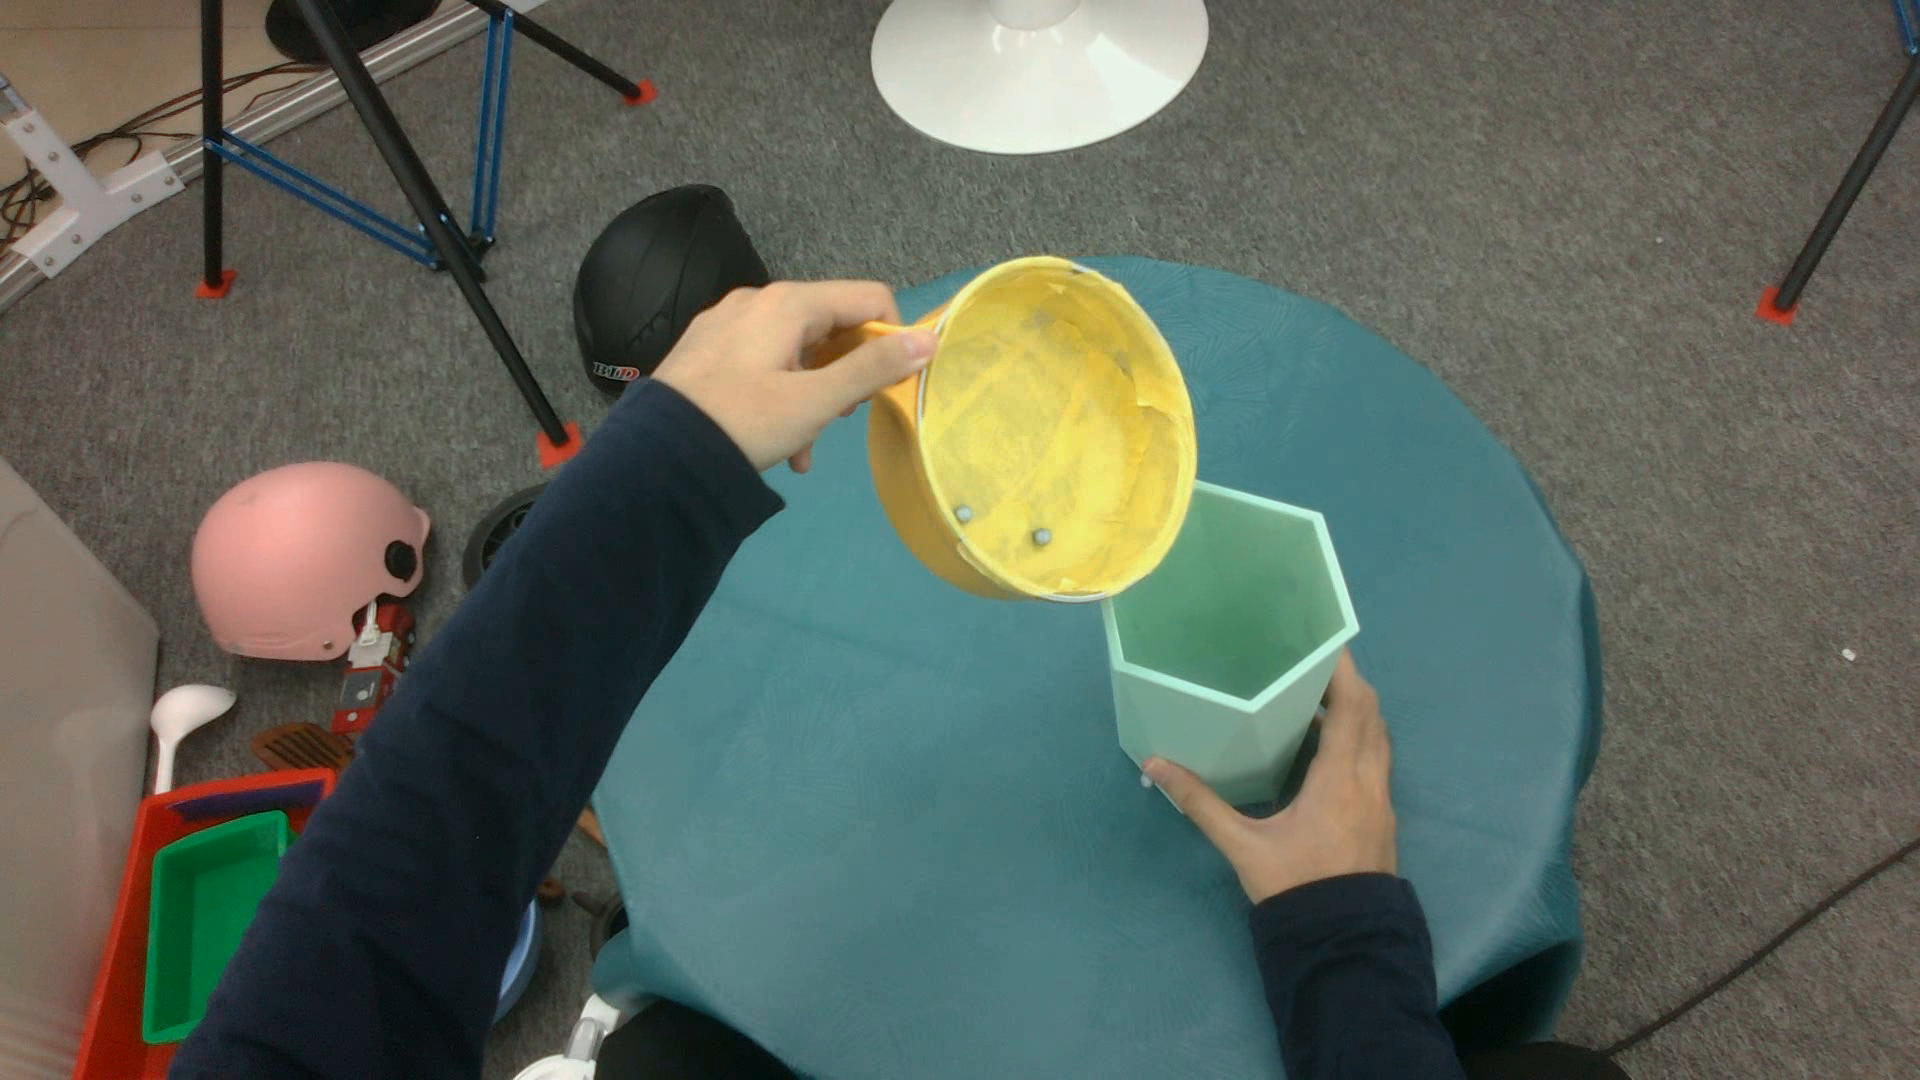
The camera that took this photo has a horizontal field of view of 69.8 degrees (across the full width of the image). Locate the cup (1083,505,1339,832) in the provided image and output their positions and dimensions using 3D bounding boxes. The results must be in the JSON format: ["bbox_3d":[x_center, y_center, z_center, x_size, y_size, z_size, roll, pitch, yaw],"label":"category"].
[{"bbox_3d":[0.130,0.077,0.730,0.131,0.162,0.115,14,60,18],"label":"cup"}]

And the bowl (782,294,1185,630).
[{"bbox_3d":[0.013,-0.036,0.635,0.179,0.074,0.153,14,75,-28],"label":"bowl"}]
